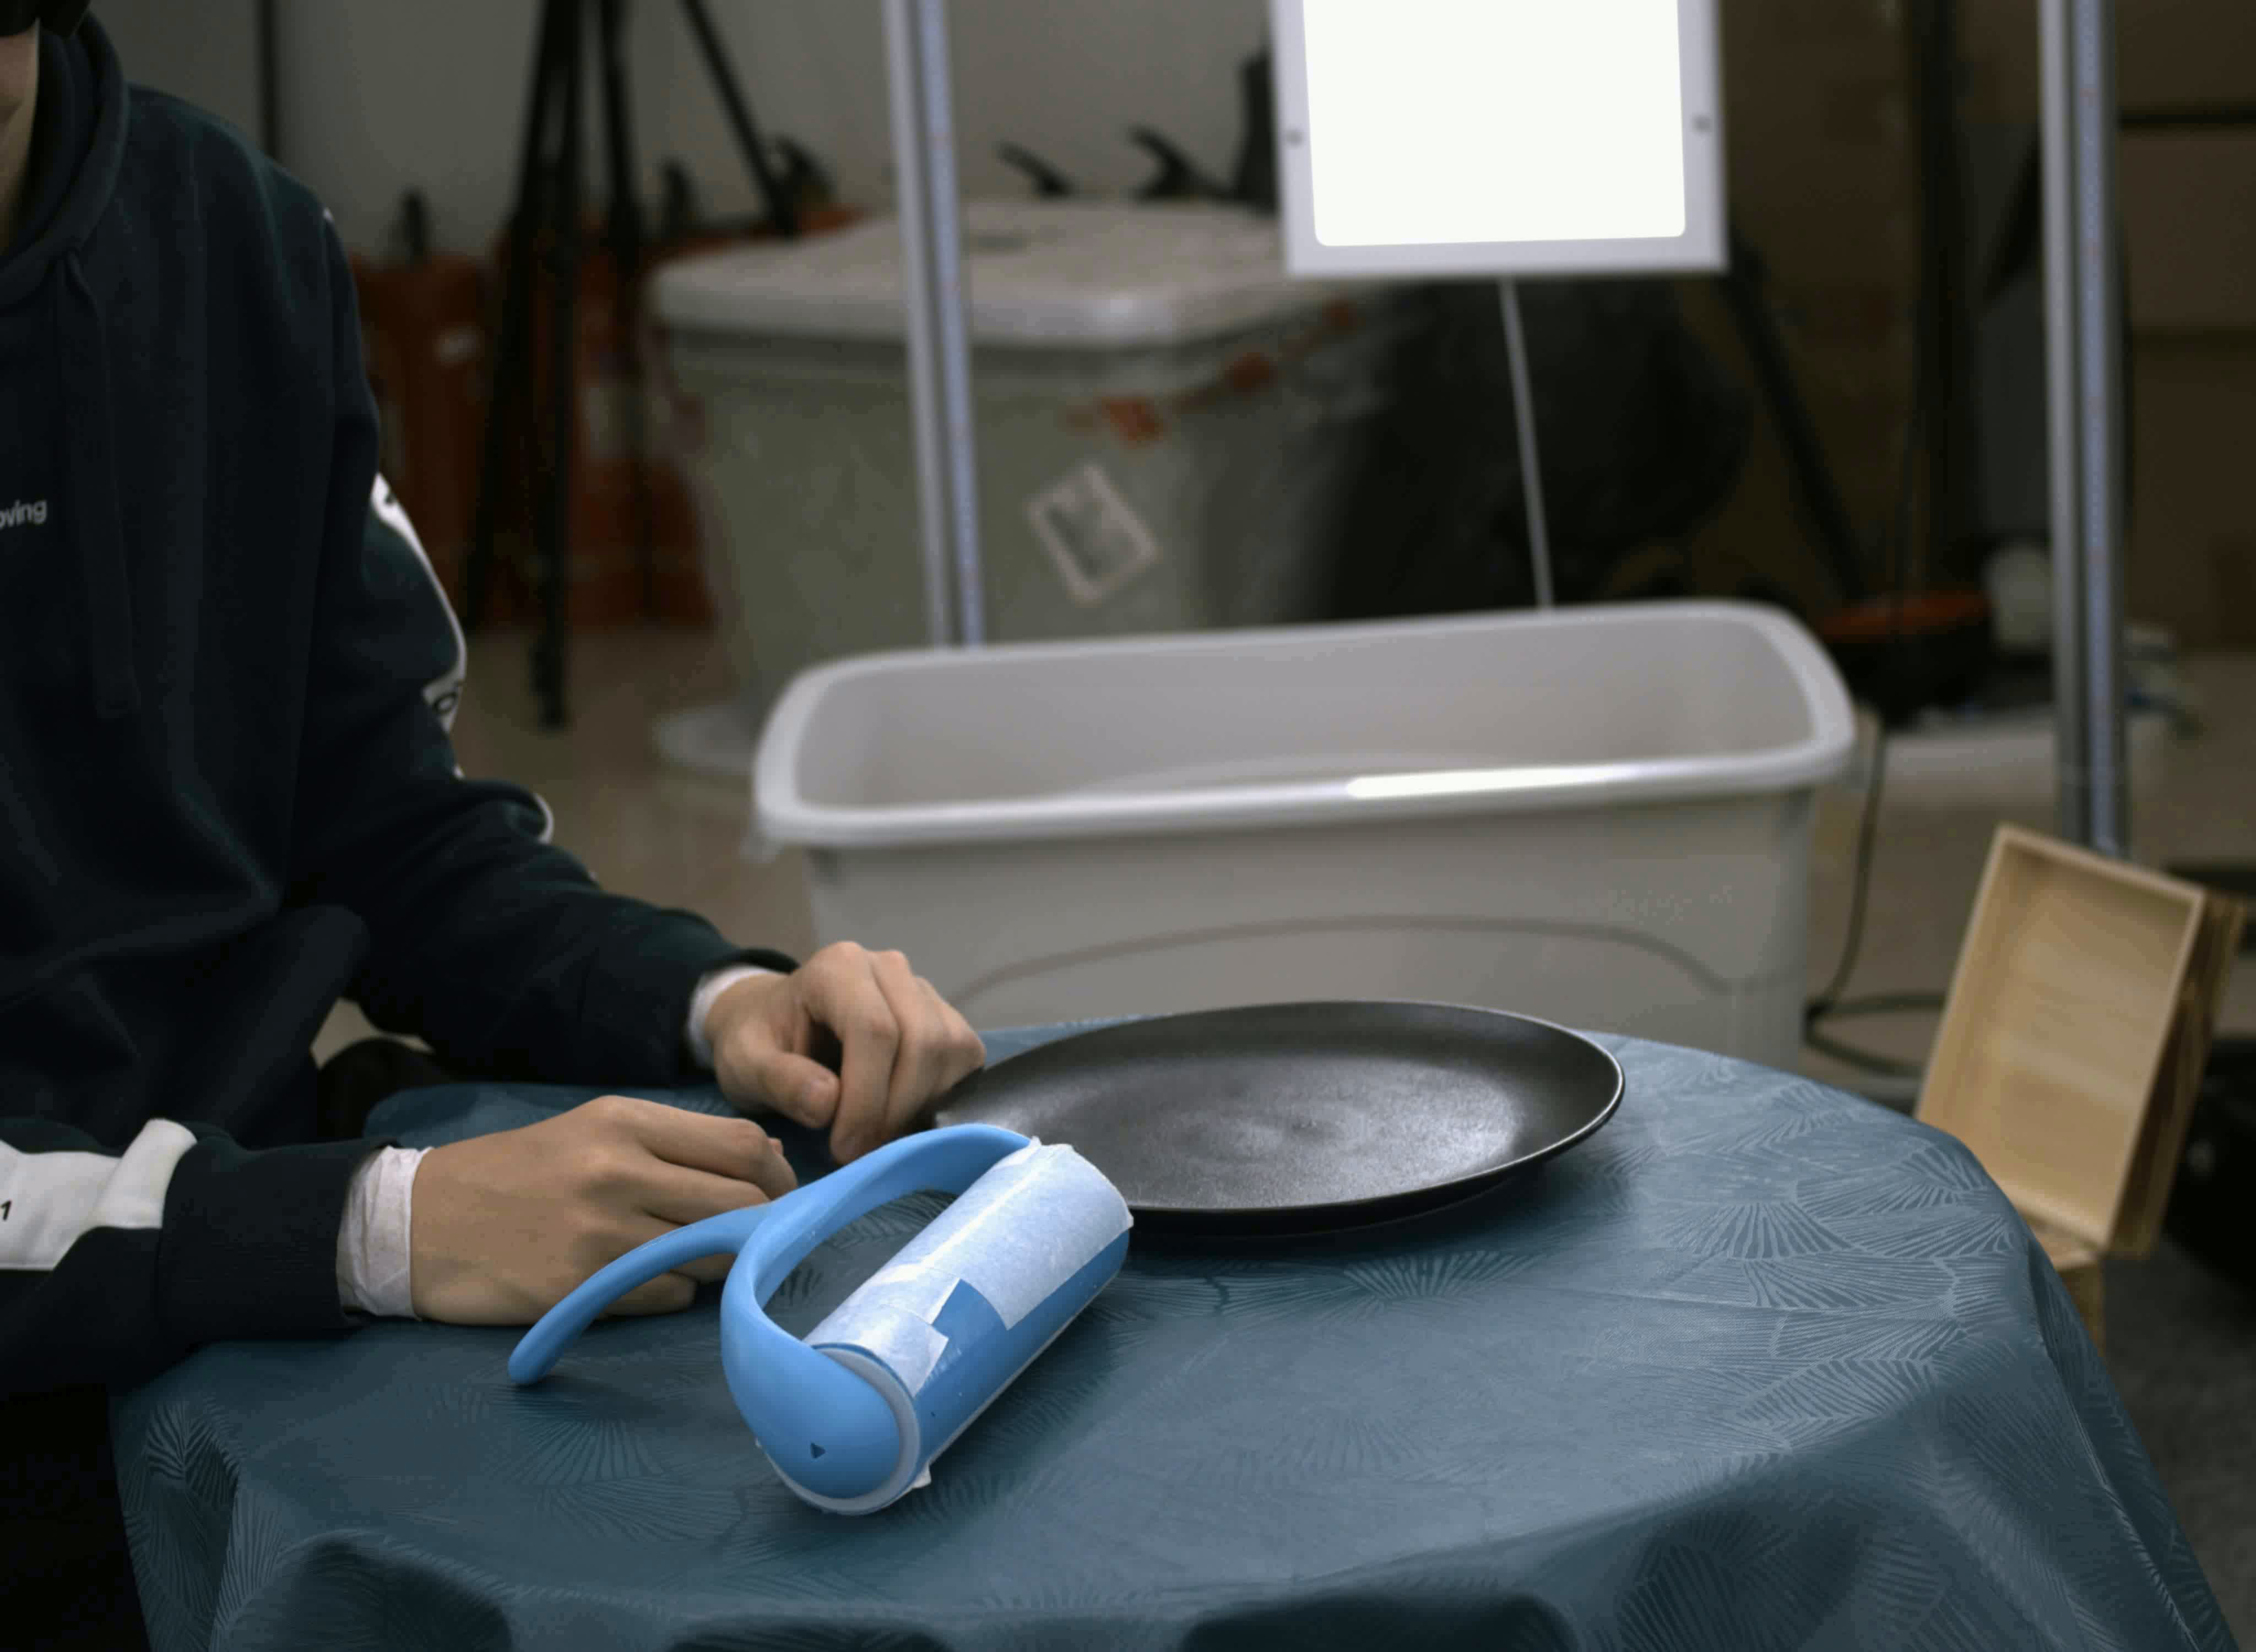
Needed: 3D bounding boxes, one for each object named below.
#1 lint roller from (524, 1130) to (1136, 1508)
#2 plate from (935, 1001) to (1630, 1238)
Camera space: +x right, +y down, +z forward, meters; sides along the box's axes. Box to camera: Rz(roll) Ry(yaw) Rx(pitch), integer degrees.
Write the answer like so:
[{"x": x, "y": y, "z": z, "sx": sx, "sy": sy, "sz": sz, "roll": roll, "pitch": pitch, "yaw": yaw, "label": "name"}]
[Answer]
[{"x": -0.108, "y": 0.152, "z": 1.715, "sx": 0.182, "sy": 0.068, "sz": 0.225, "roll": -2, "pitch": 15, "yaw": 17, "label": "lint roller"}, {"x": 0.054, "y": 0.105, "z": 1.916, "sx": 0.244, "sy": 0.023, "sz": 0.244, "roll": -5, "pitch": 13, "yaw": 0, "label": "plate"}]
